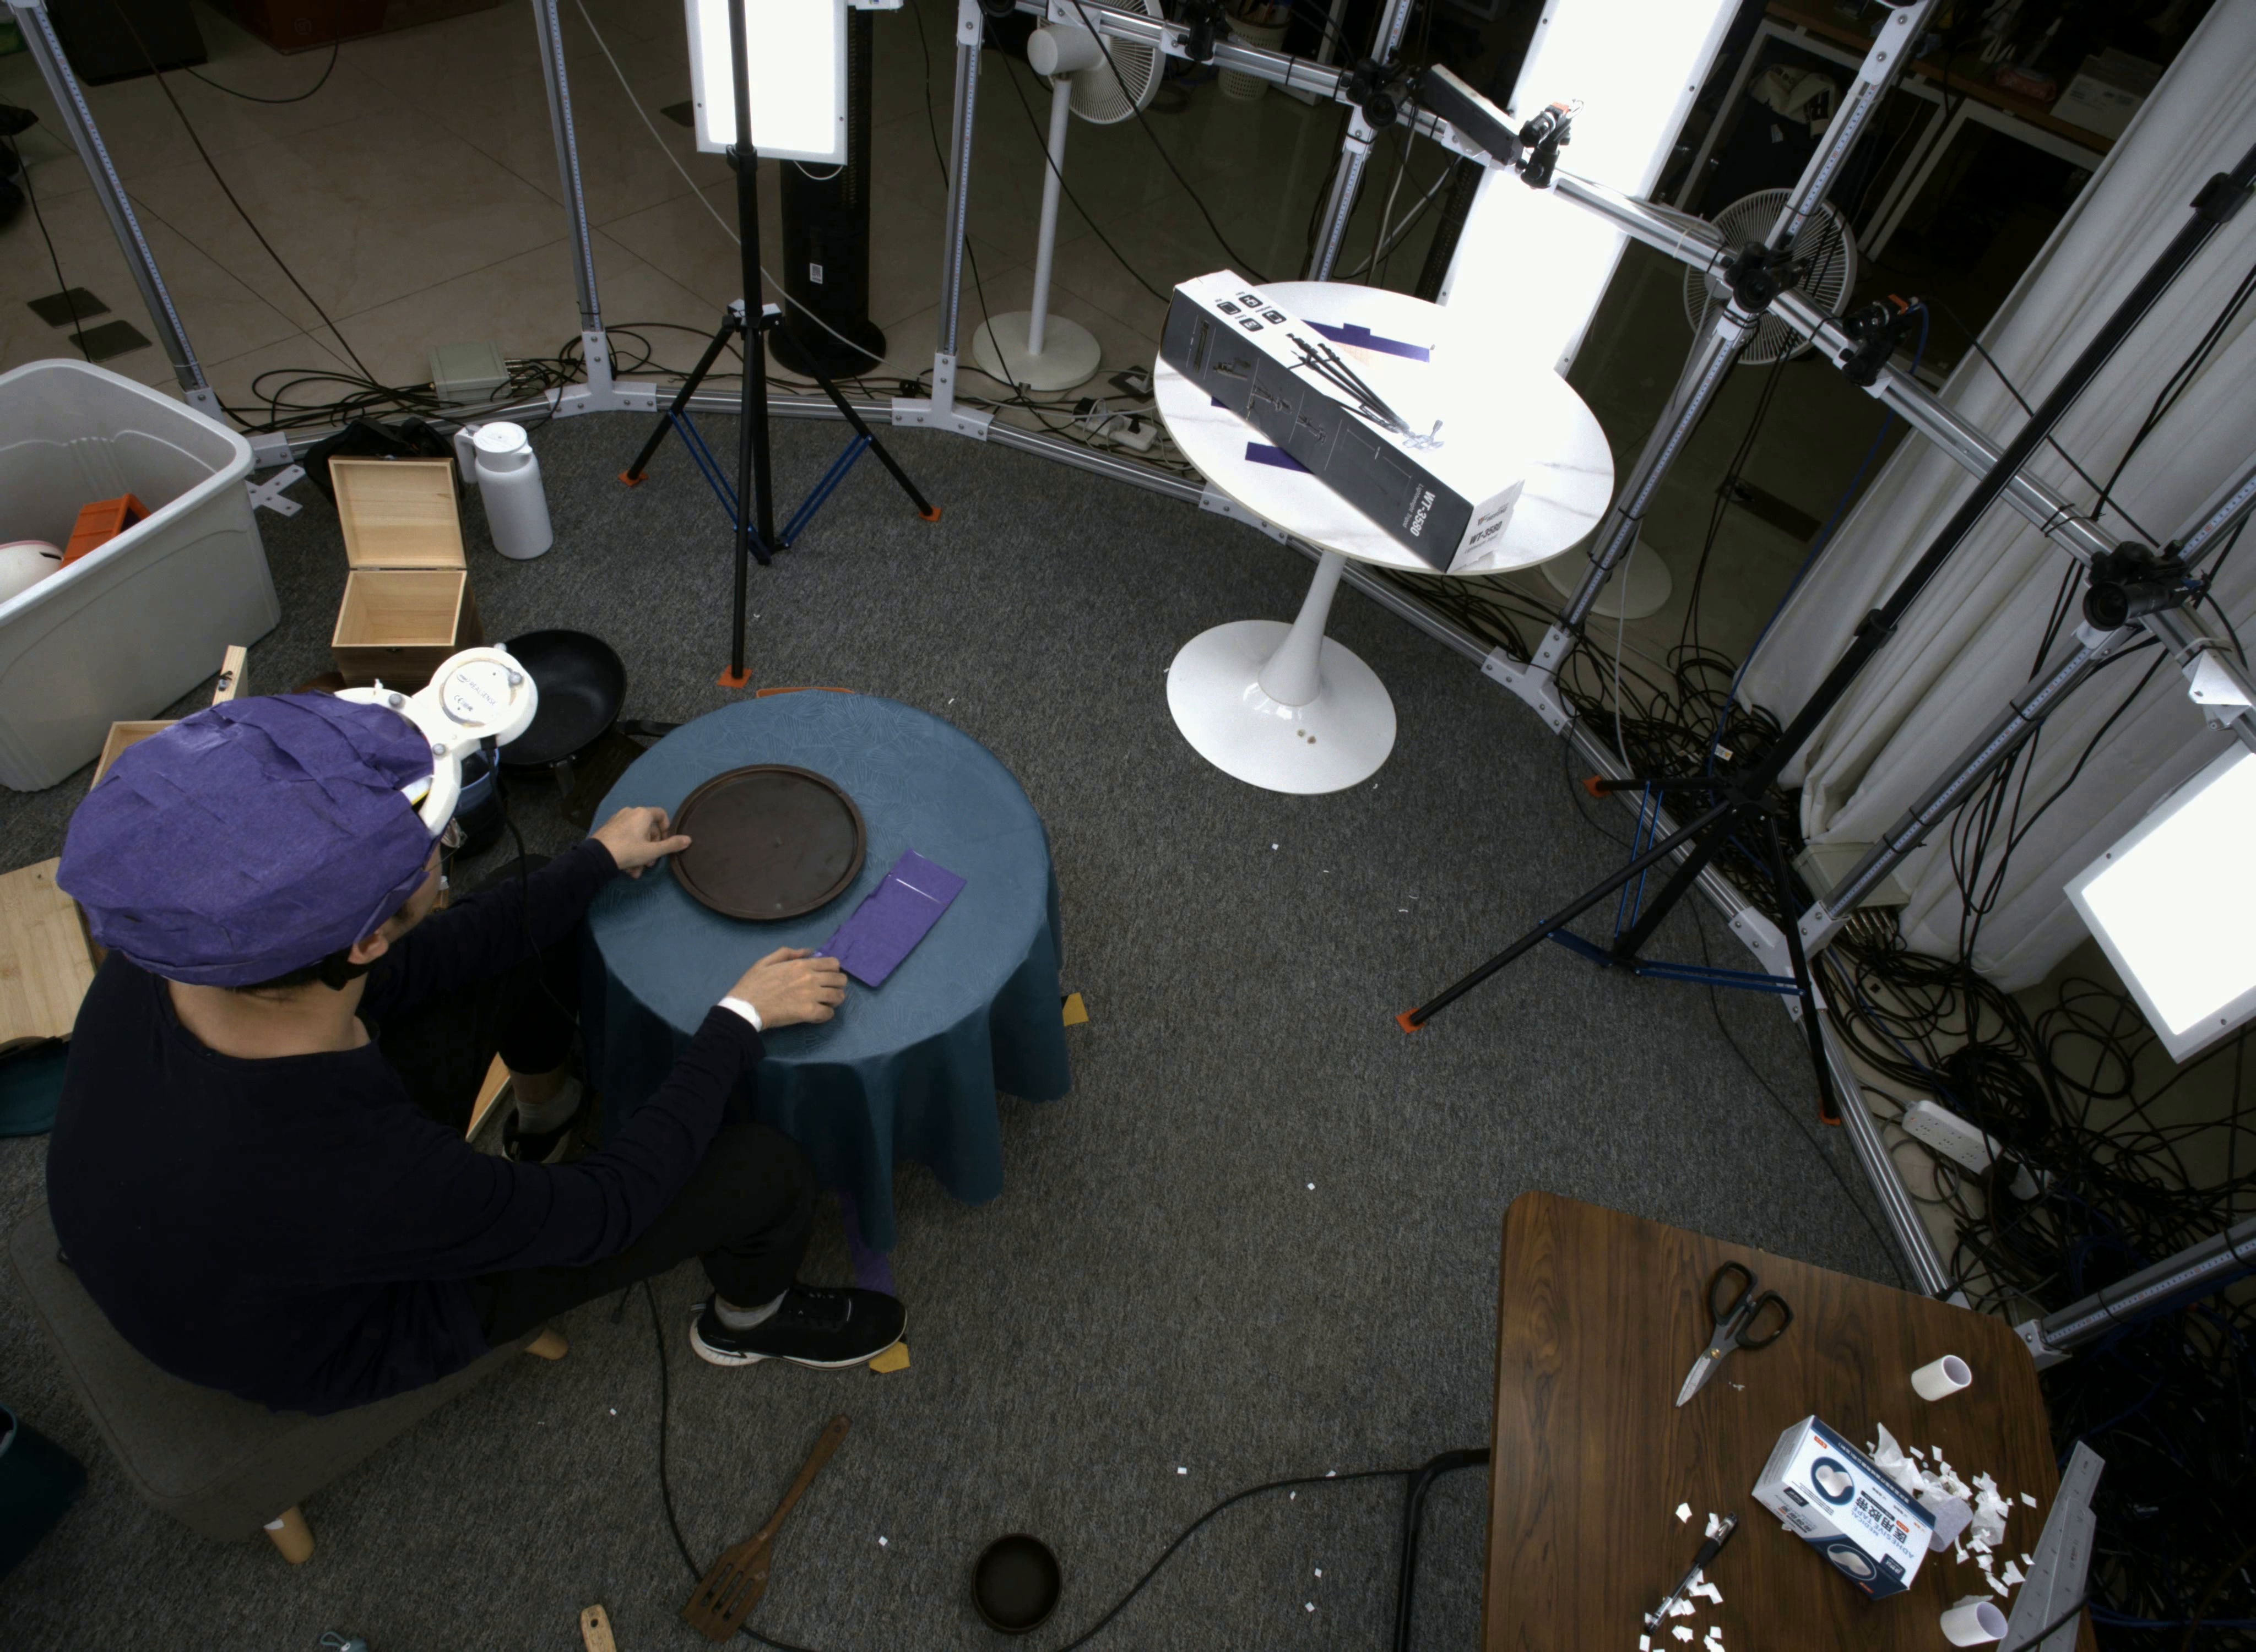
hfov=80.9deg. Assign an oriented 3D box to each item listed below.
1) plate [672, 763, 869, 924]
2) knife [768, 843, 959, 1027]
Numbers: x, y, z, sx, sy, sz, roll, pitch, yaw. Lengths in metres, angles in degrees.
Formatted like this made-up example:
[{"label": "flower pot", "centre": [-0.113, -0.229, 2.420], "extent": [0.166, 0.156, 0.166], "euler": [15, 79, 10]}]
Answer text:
[{"label": "plate", "centre": [-0.466, 0.020, 1.694], "extent": [0.254, 0.029, 0.250], "euler": [8, 52, -9]}, {"label": "knife", "centre": [-0.323, 0.141, 1.639], "extent": [0.102, 0.033, 0.314], "euler": [29, 52, 8]}]
